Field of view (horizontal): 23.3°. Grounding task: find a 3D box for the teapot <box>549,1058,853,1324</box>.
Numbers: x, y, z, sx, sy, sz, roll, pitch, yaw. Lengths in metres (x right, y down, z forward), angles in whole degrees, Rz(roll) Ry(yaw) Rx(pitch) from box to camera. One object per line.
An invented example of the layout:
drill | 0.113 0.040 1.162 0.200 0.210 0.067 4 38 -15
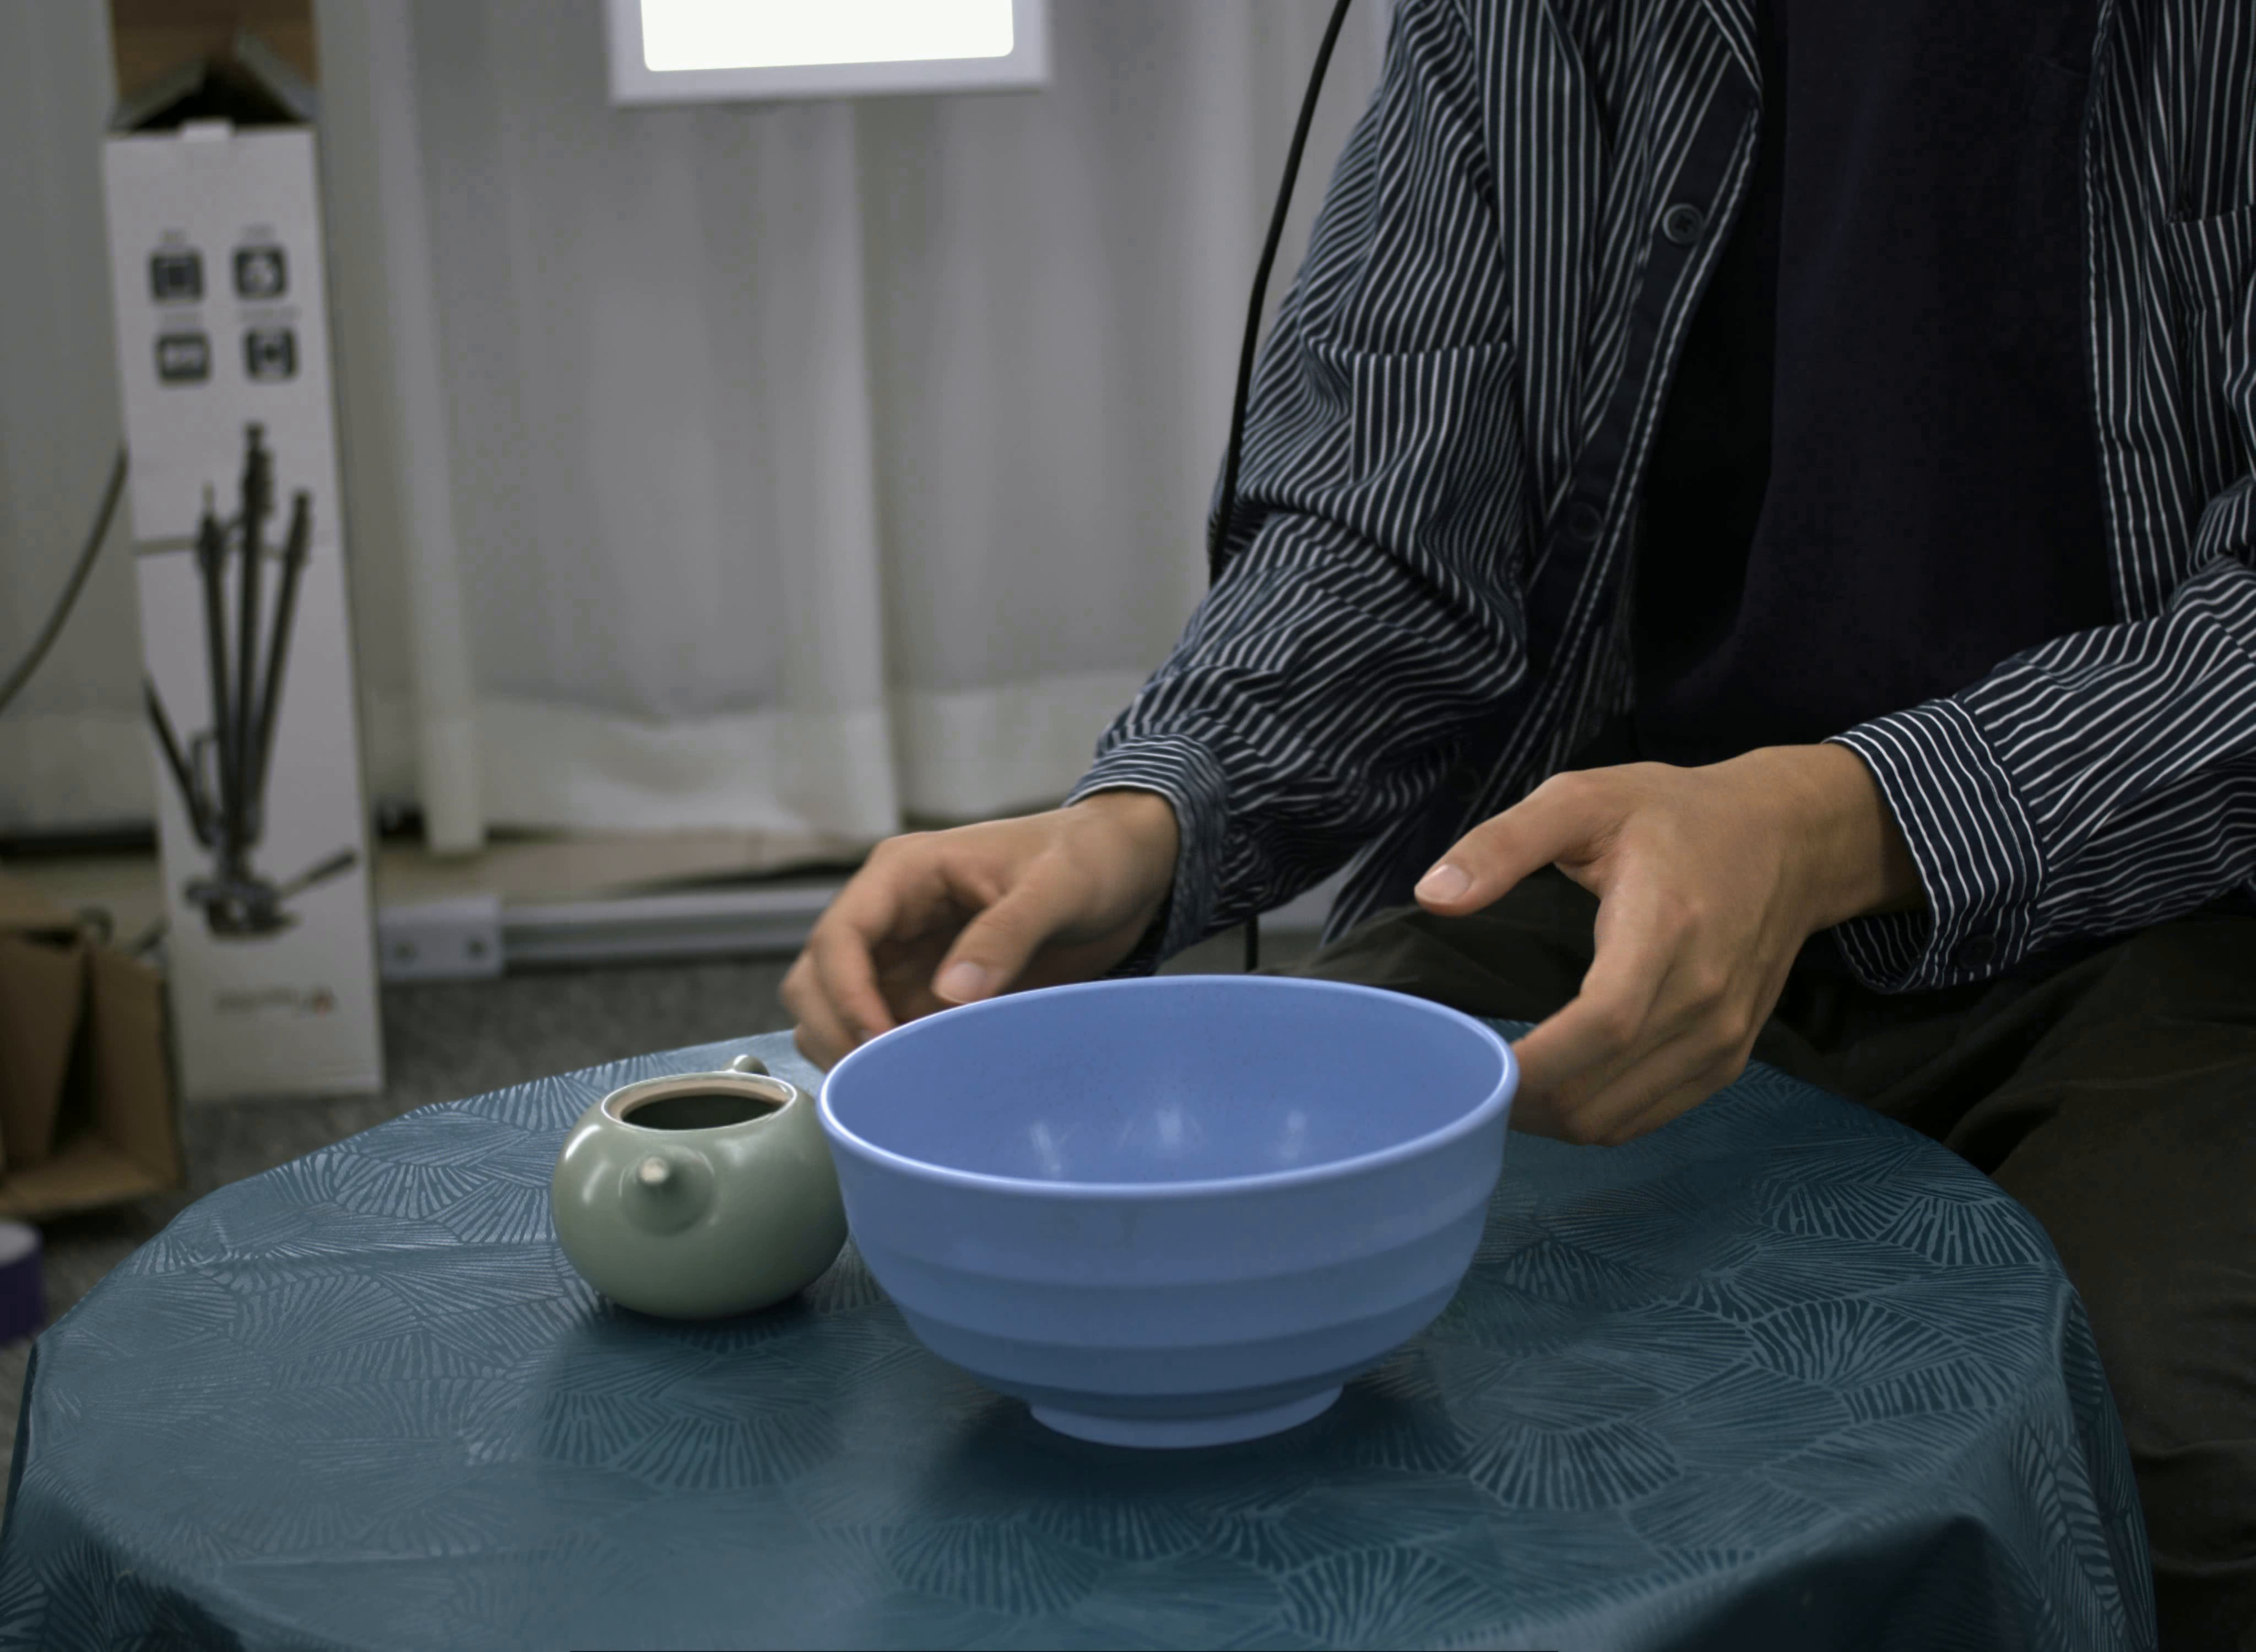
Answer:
teapot | -0.125 0.110 1.648 0.091 0.061 0.129 -1 14 16

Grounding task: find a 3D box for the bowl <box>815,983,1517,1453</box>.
bowl | 0.013 0.115 1.533 0.196 0.095 0.198 -4 14 1
